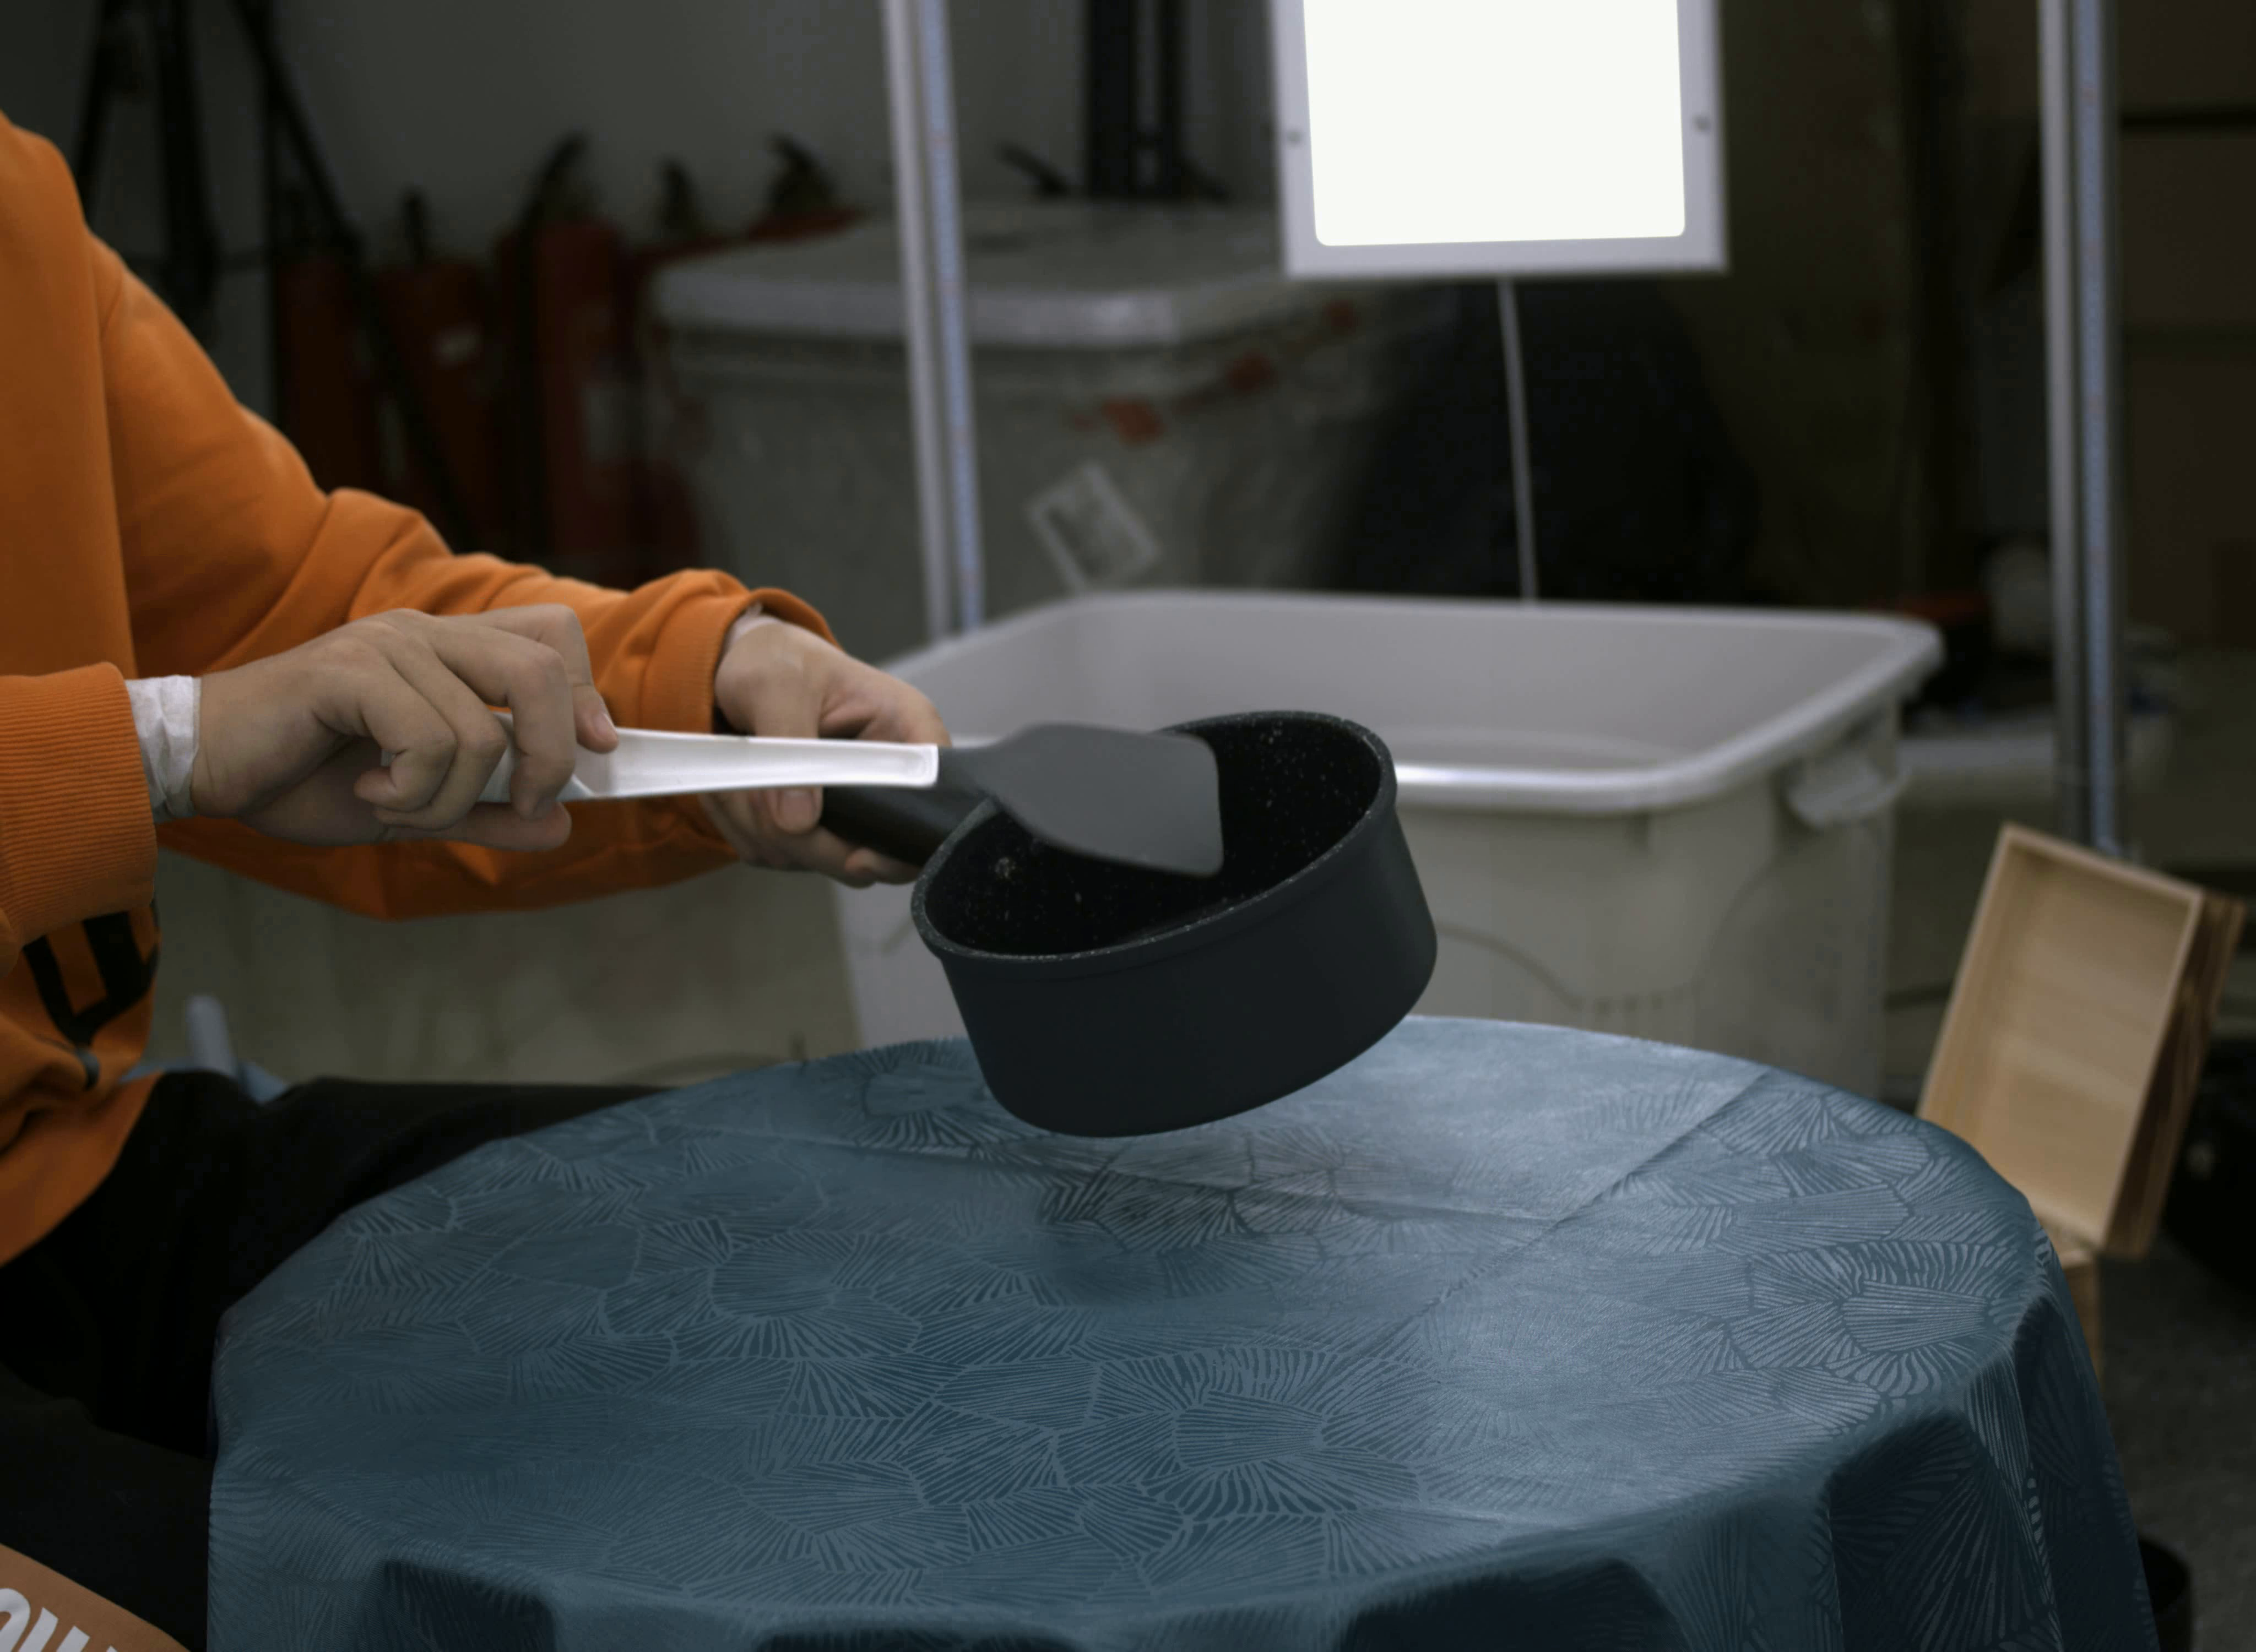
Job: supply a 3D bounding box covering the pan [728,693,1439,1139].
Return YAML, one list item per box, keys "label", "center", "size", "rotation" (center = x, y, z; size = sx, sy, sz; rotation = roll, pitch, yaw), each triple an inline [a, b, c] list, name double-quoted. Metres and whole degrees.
- label: "pan"
  center: [-0.031, 0.019, 1.934]
  size: [0.168, 0.086, 0.335]
  rotation: [-32, 27, -28]

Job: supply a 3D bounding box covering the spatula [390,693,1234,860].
- label: "spatula"
  center: [-0.100, -0.022, 1.830]
  size: [0.284, 0.058, 0.032]
  rotation: [2, -28, -13]
